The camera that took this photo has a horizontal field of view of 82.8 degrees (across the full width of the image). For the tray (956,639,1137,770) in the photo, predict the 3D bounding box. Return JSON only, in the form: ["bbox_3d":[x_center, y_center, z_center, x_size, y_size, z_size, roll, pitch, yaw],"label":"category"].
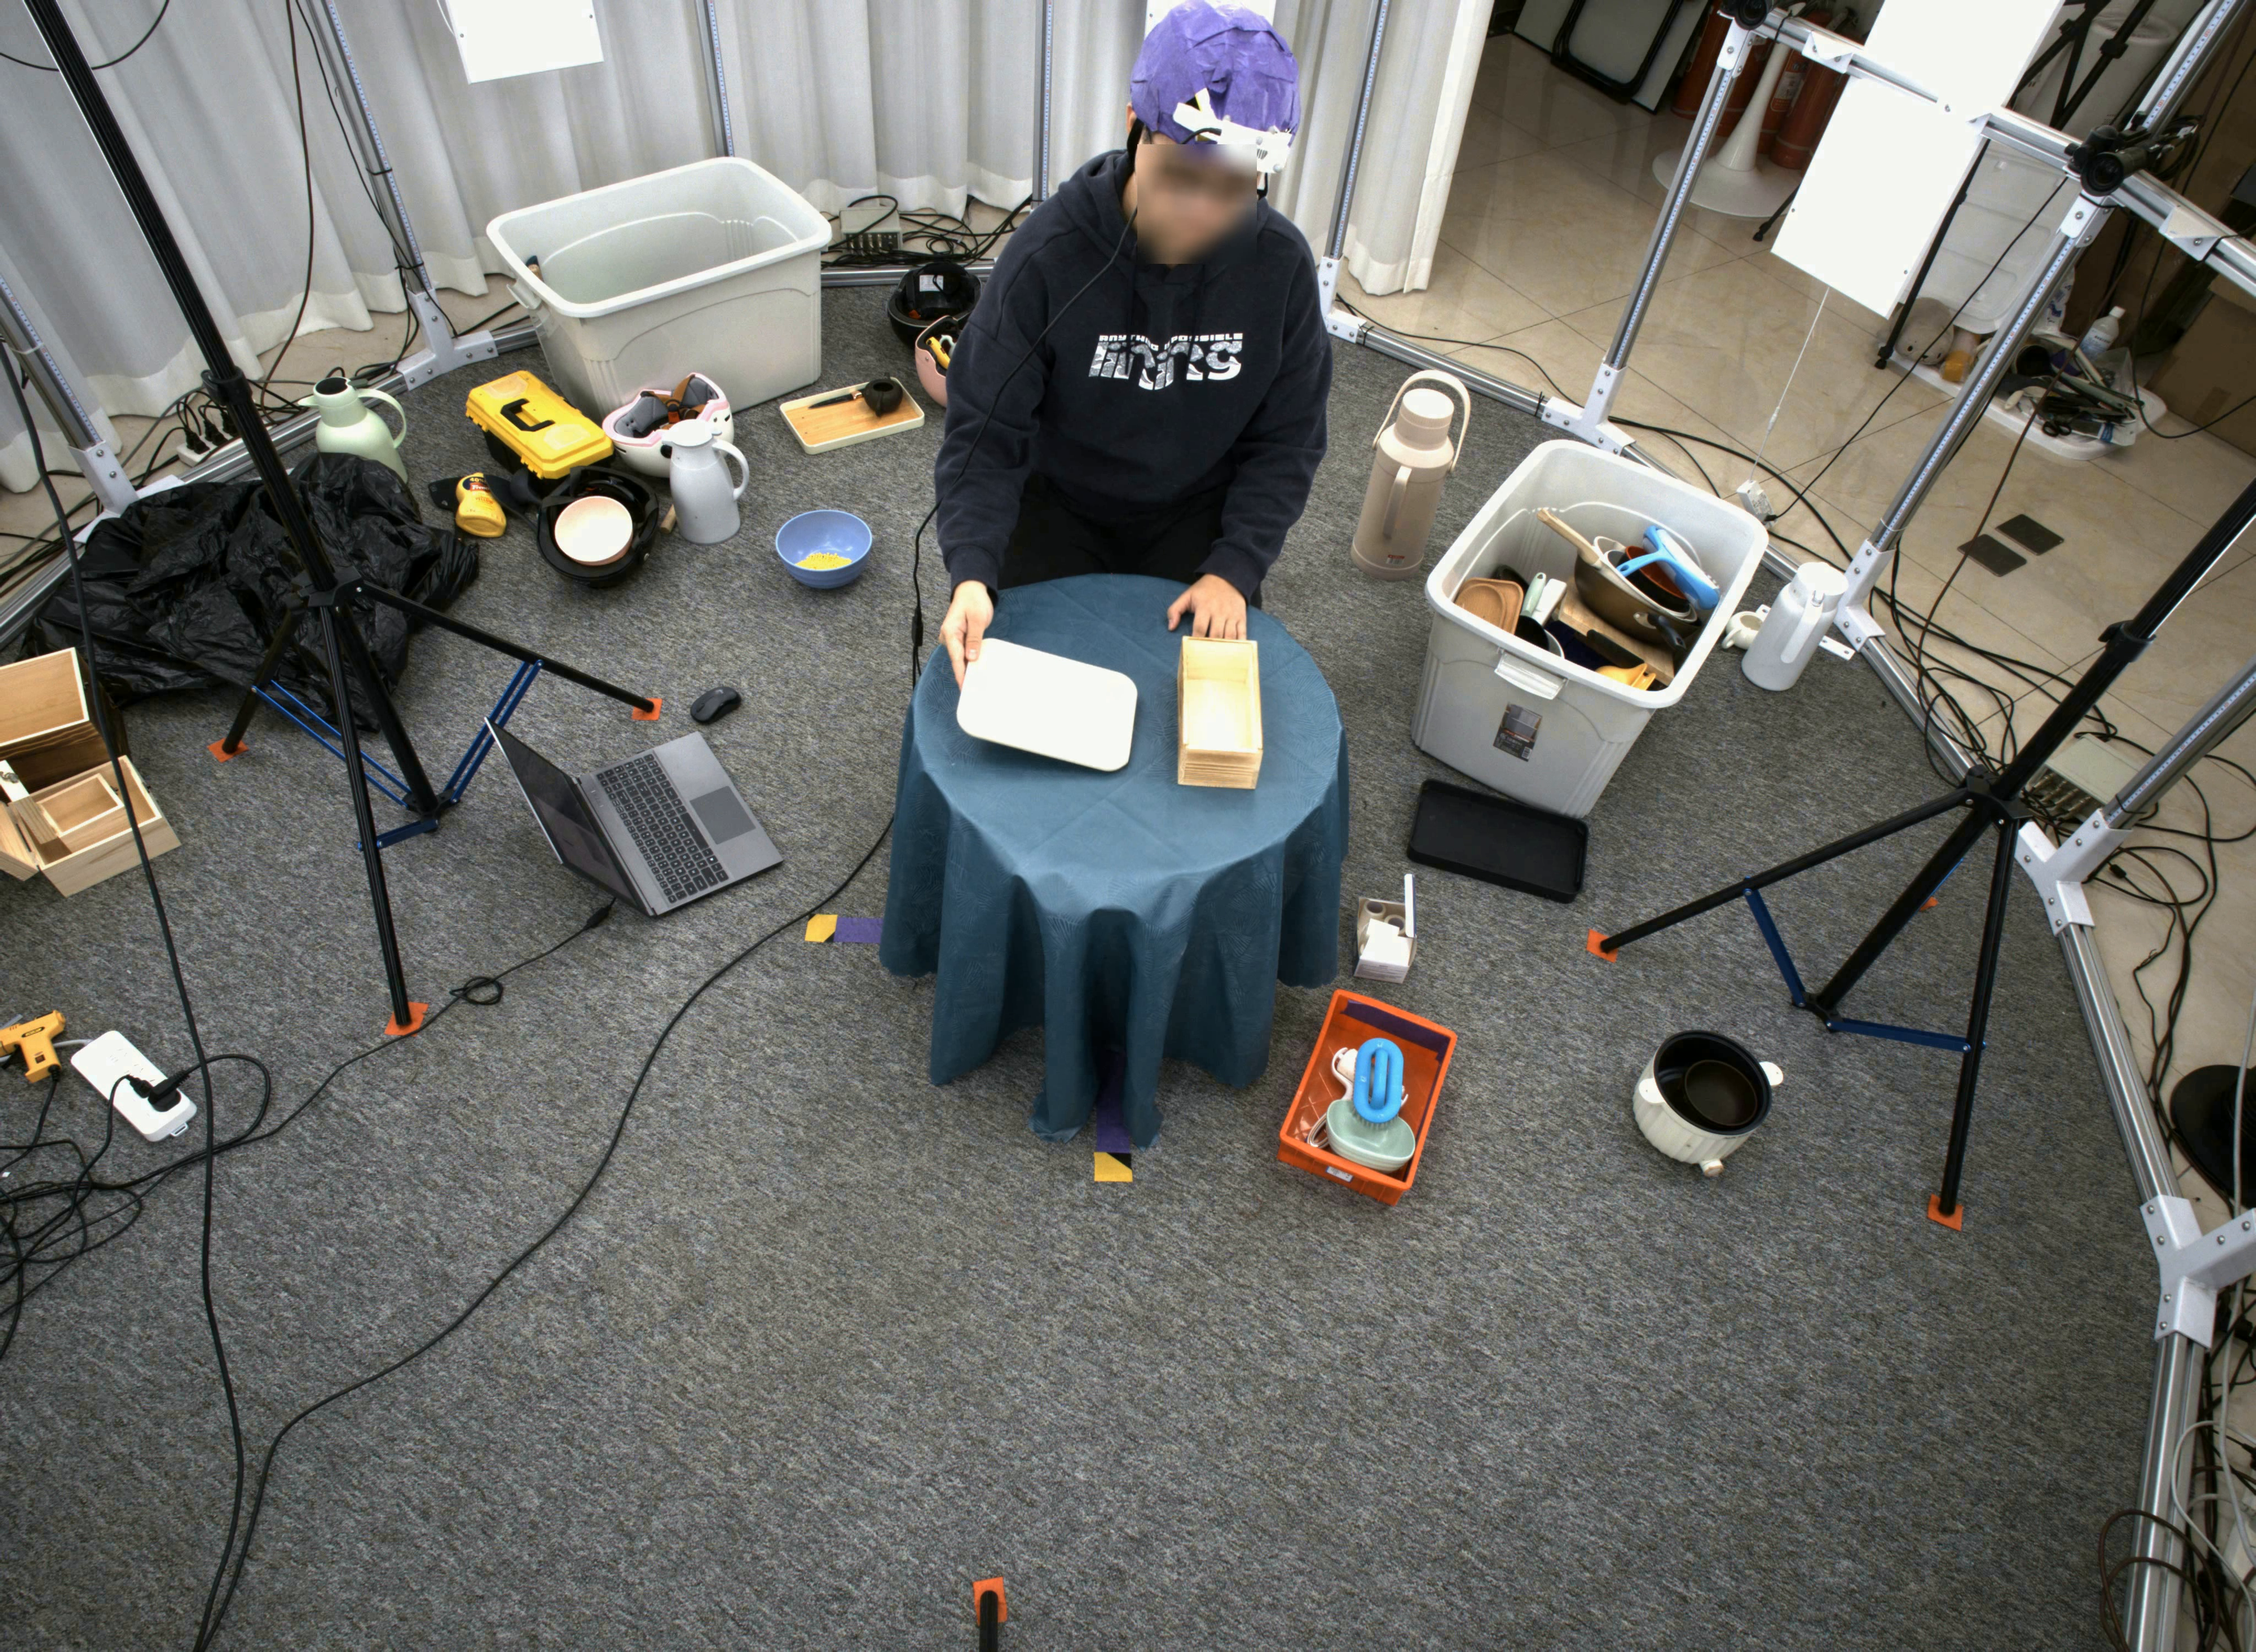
[{"bbox_3d":[-0.108,-0.164,1.751,0.239,0.017,0.175,13,54,-8],"label":"tray"}]

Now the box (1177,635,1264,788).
[{"bbox_3d":[0.125,-0.159,1.762,0.107,0.078,0.217,3,49,-2],"label":"box"}]
